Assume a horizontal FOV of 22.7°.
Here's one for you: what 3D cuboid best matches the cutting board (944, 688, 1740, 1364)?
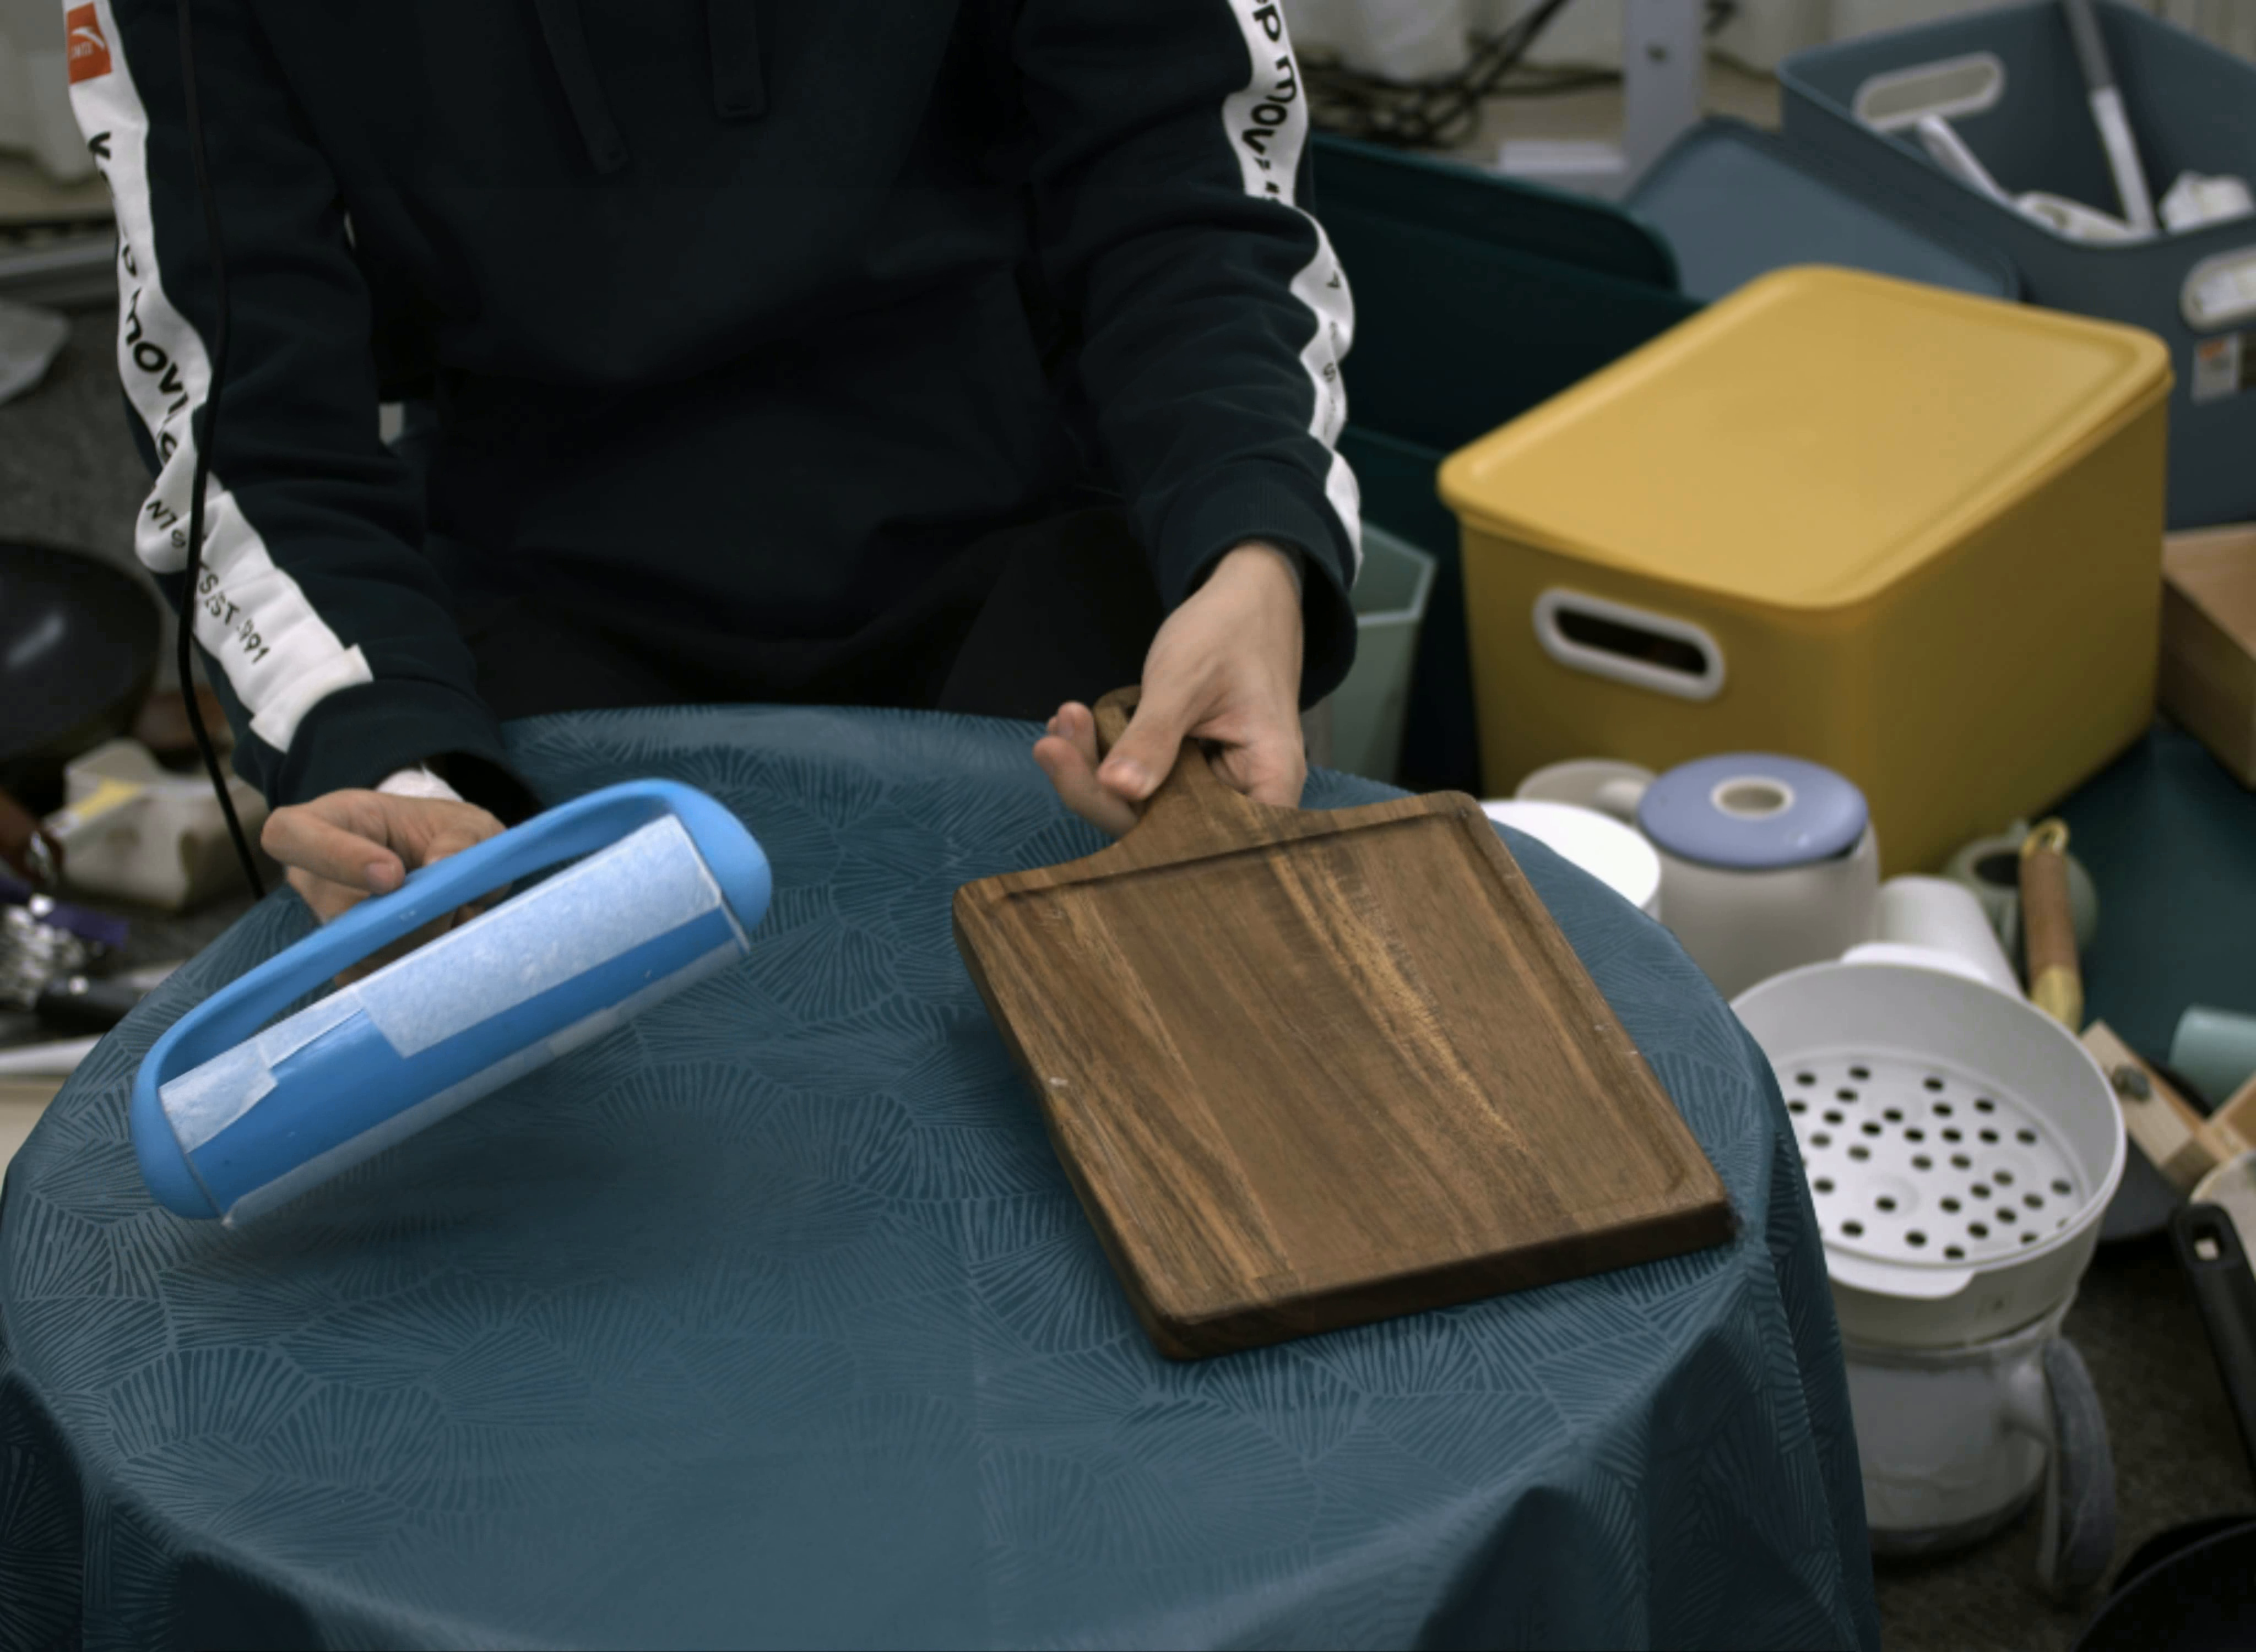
[{"bbox_3d":[0.051,0.052,1.922,0.201,0.023,0.356,-10,35,-15],"label":"cutting board"}]

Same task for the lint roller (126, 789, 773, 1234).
[{"bbox_3d":[-0.234,0.050,1.892,0.229,0.067,0.181,-30,19,-6],"label":"lint roller"}]
